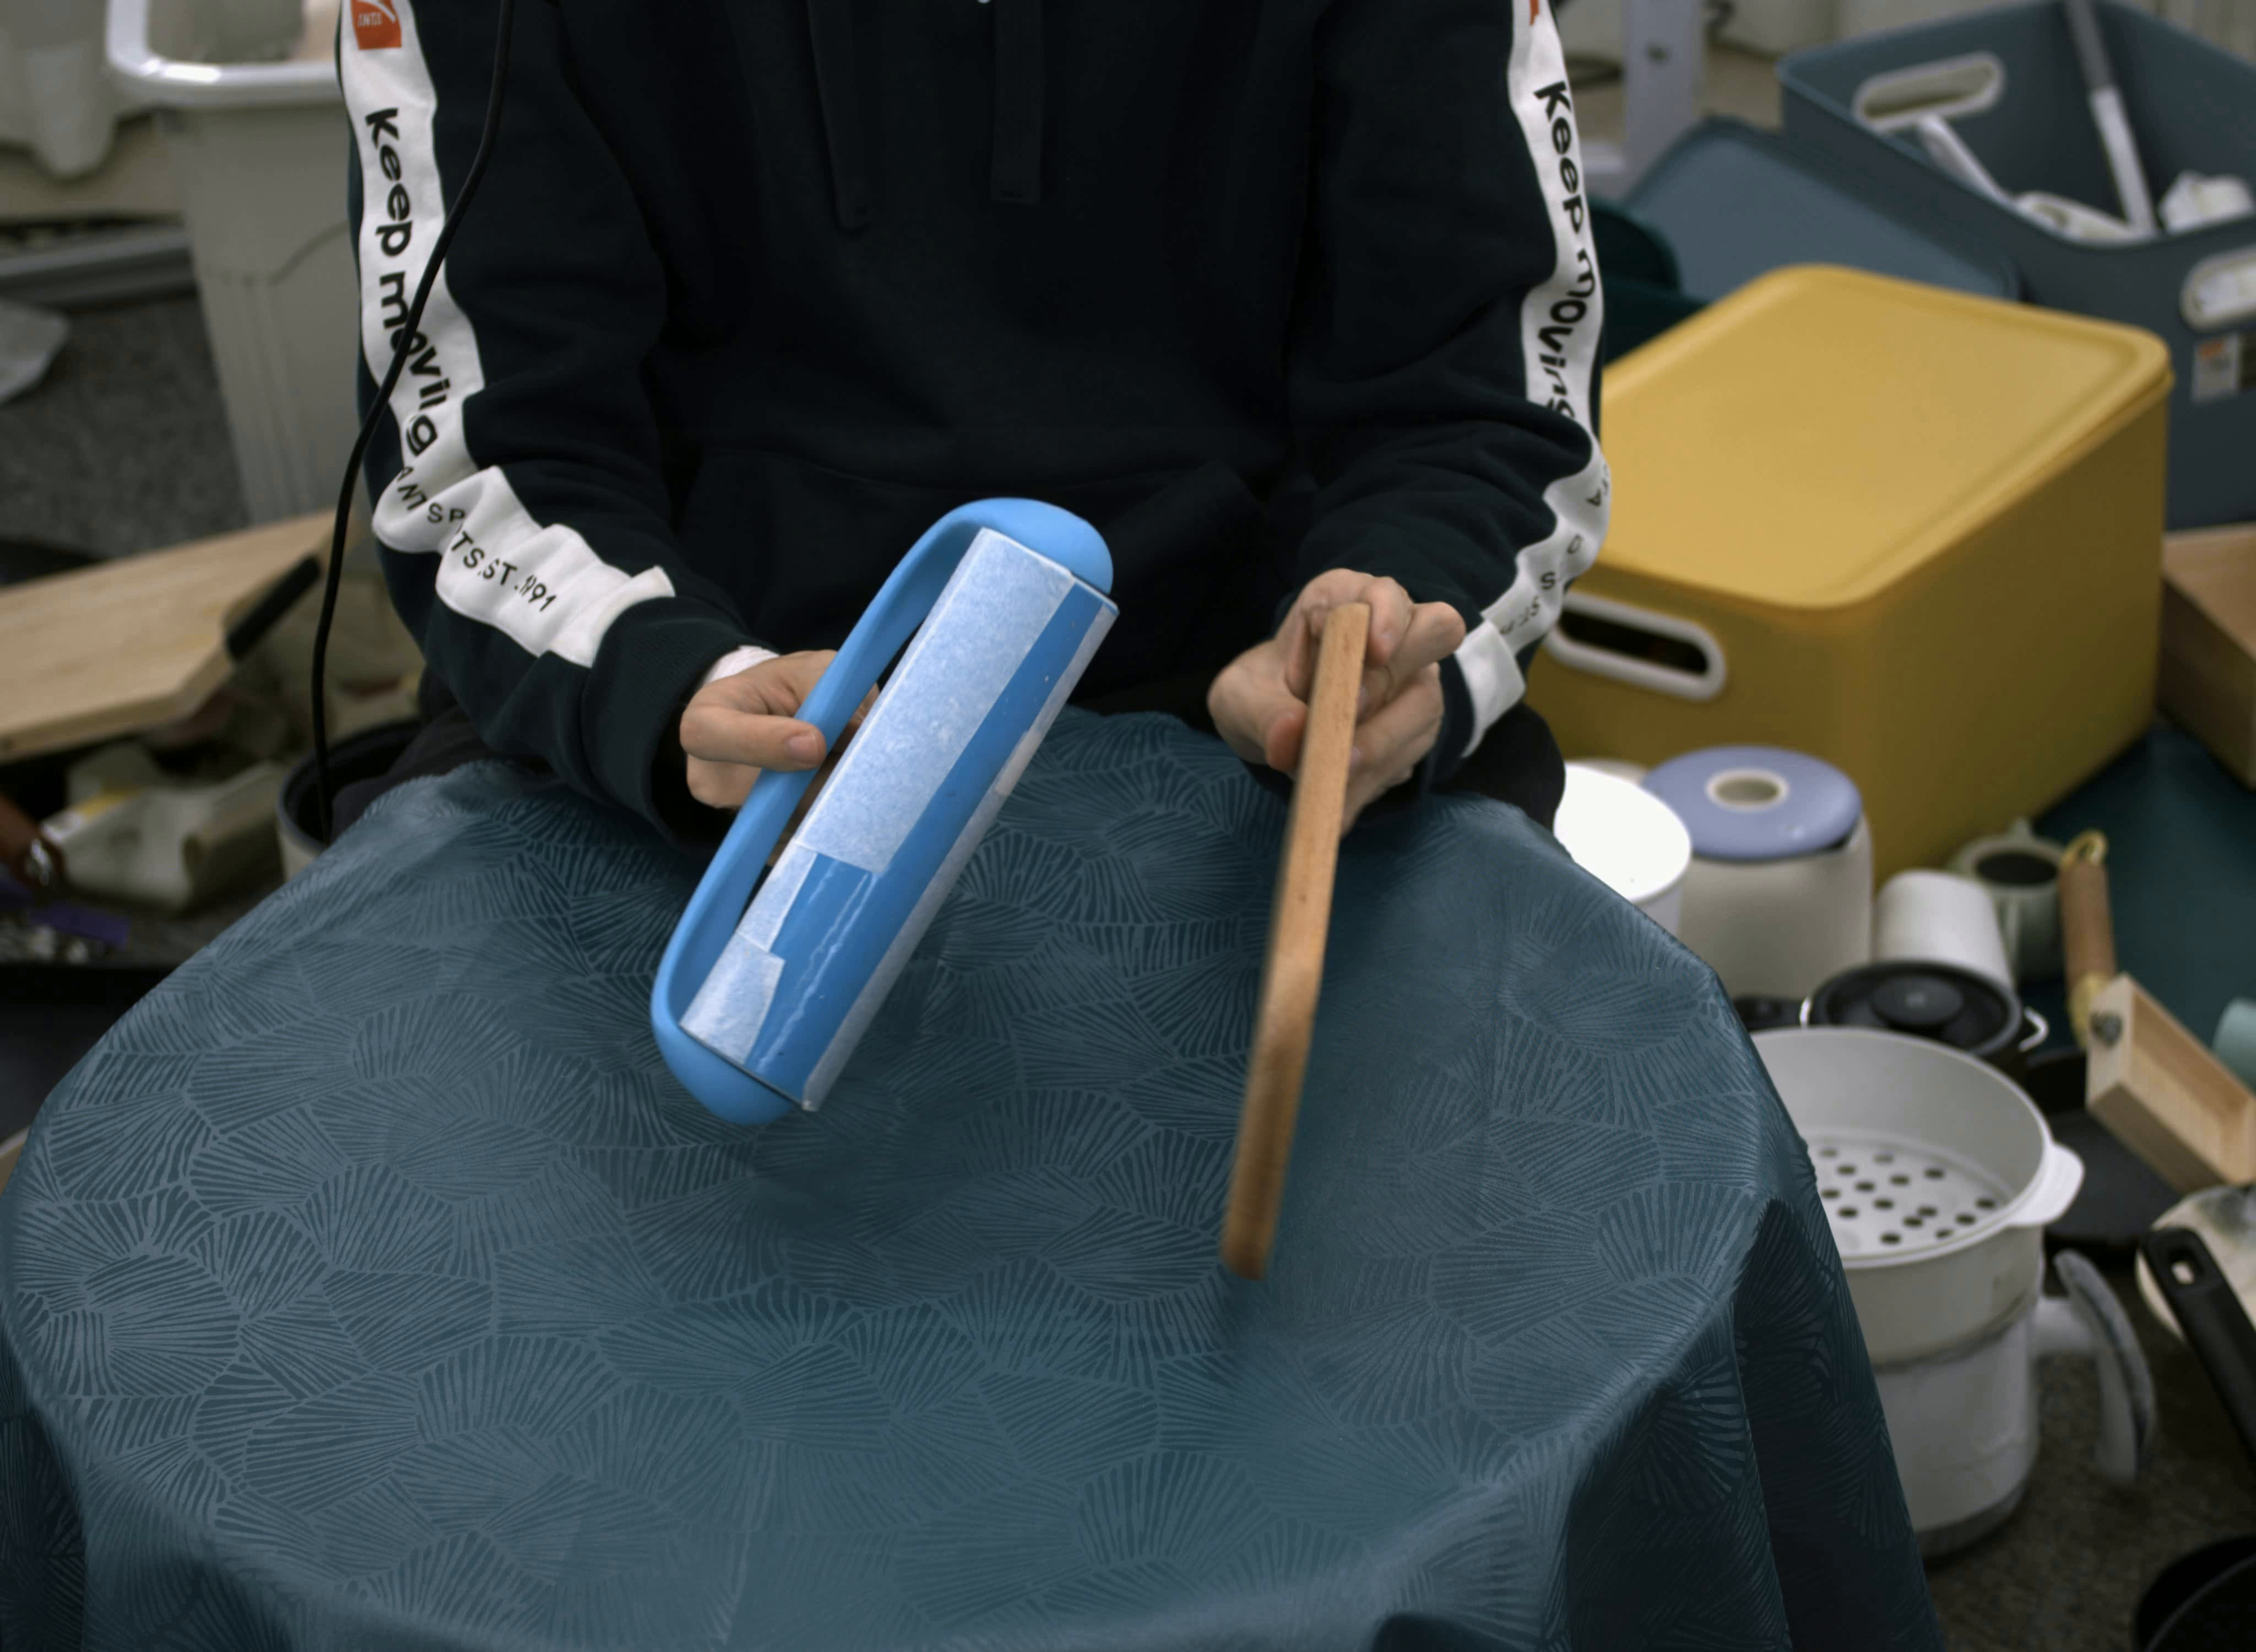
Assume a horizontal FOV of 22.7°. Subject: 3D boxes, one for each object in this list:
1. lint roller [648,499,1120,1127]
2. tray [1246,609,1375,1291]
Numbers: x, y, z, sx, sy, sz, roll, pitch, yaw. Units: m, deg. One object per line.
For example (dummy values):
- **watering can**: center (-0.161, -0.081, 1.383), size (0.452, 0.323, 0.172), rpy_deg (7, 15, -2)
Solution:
- **lint roller**: center (-0.092, -0.009, 1.890), size (0.067, 0.230, 0.180), rpy_deg (32, -5, -17)
- **tray**: center (0.060, 0.036, 1.839), size (0.023, 0.129, 0.255), rpy_deg (9, 32, 0)
